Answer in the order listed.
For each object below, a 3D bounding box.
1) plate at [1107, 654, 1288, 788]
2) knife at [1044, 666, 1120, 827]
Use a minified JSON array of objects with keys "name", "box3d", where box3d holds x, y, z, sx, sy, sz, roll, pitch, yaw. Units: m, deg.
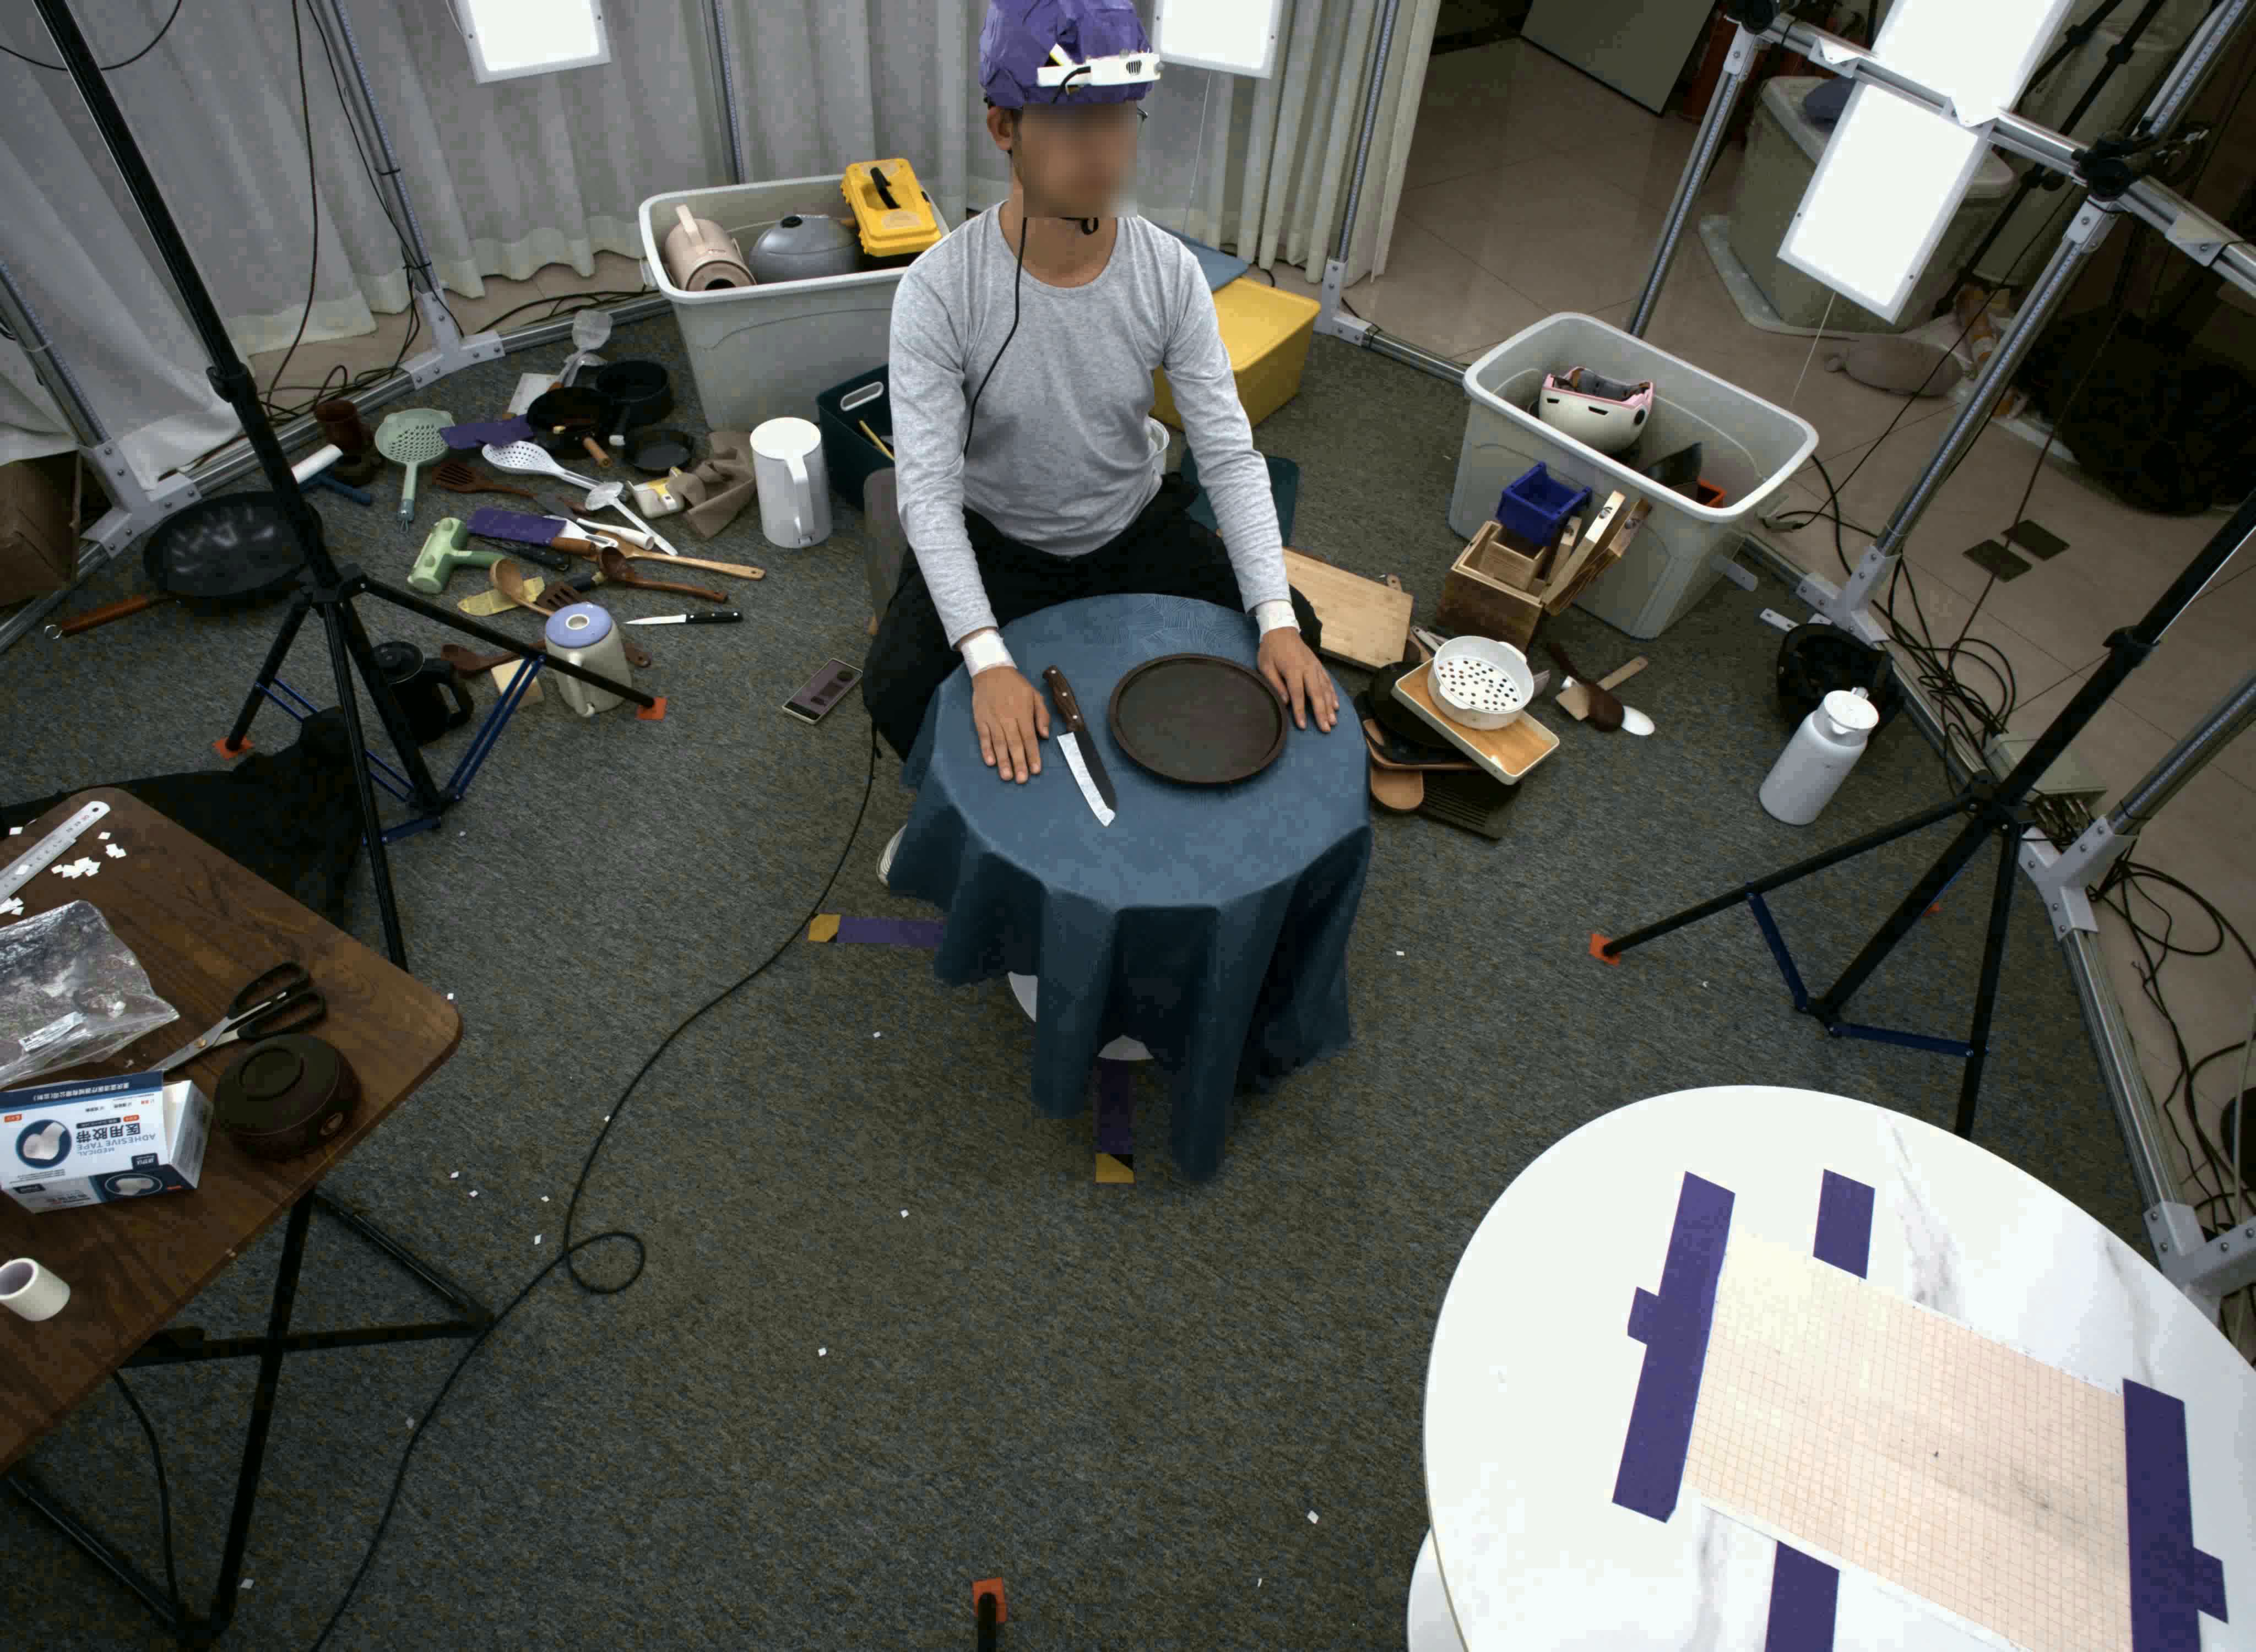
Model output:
[{"name":"plate","box3d":[0.097,-0.149,1.787,0.254,0.028,0.261,1,49,-1]},{"name":"knife","box3d":[-0.067,-0.112,1.750,0.050,0.019,0.296,-14,54,-9]}]
